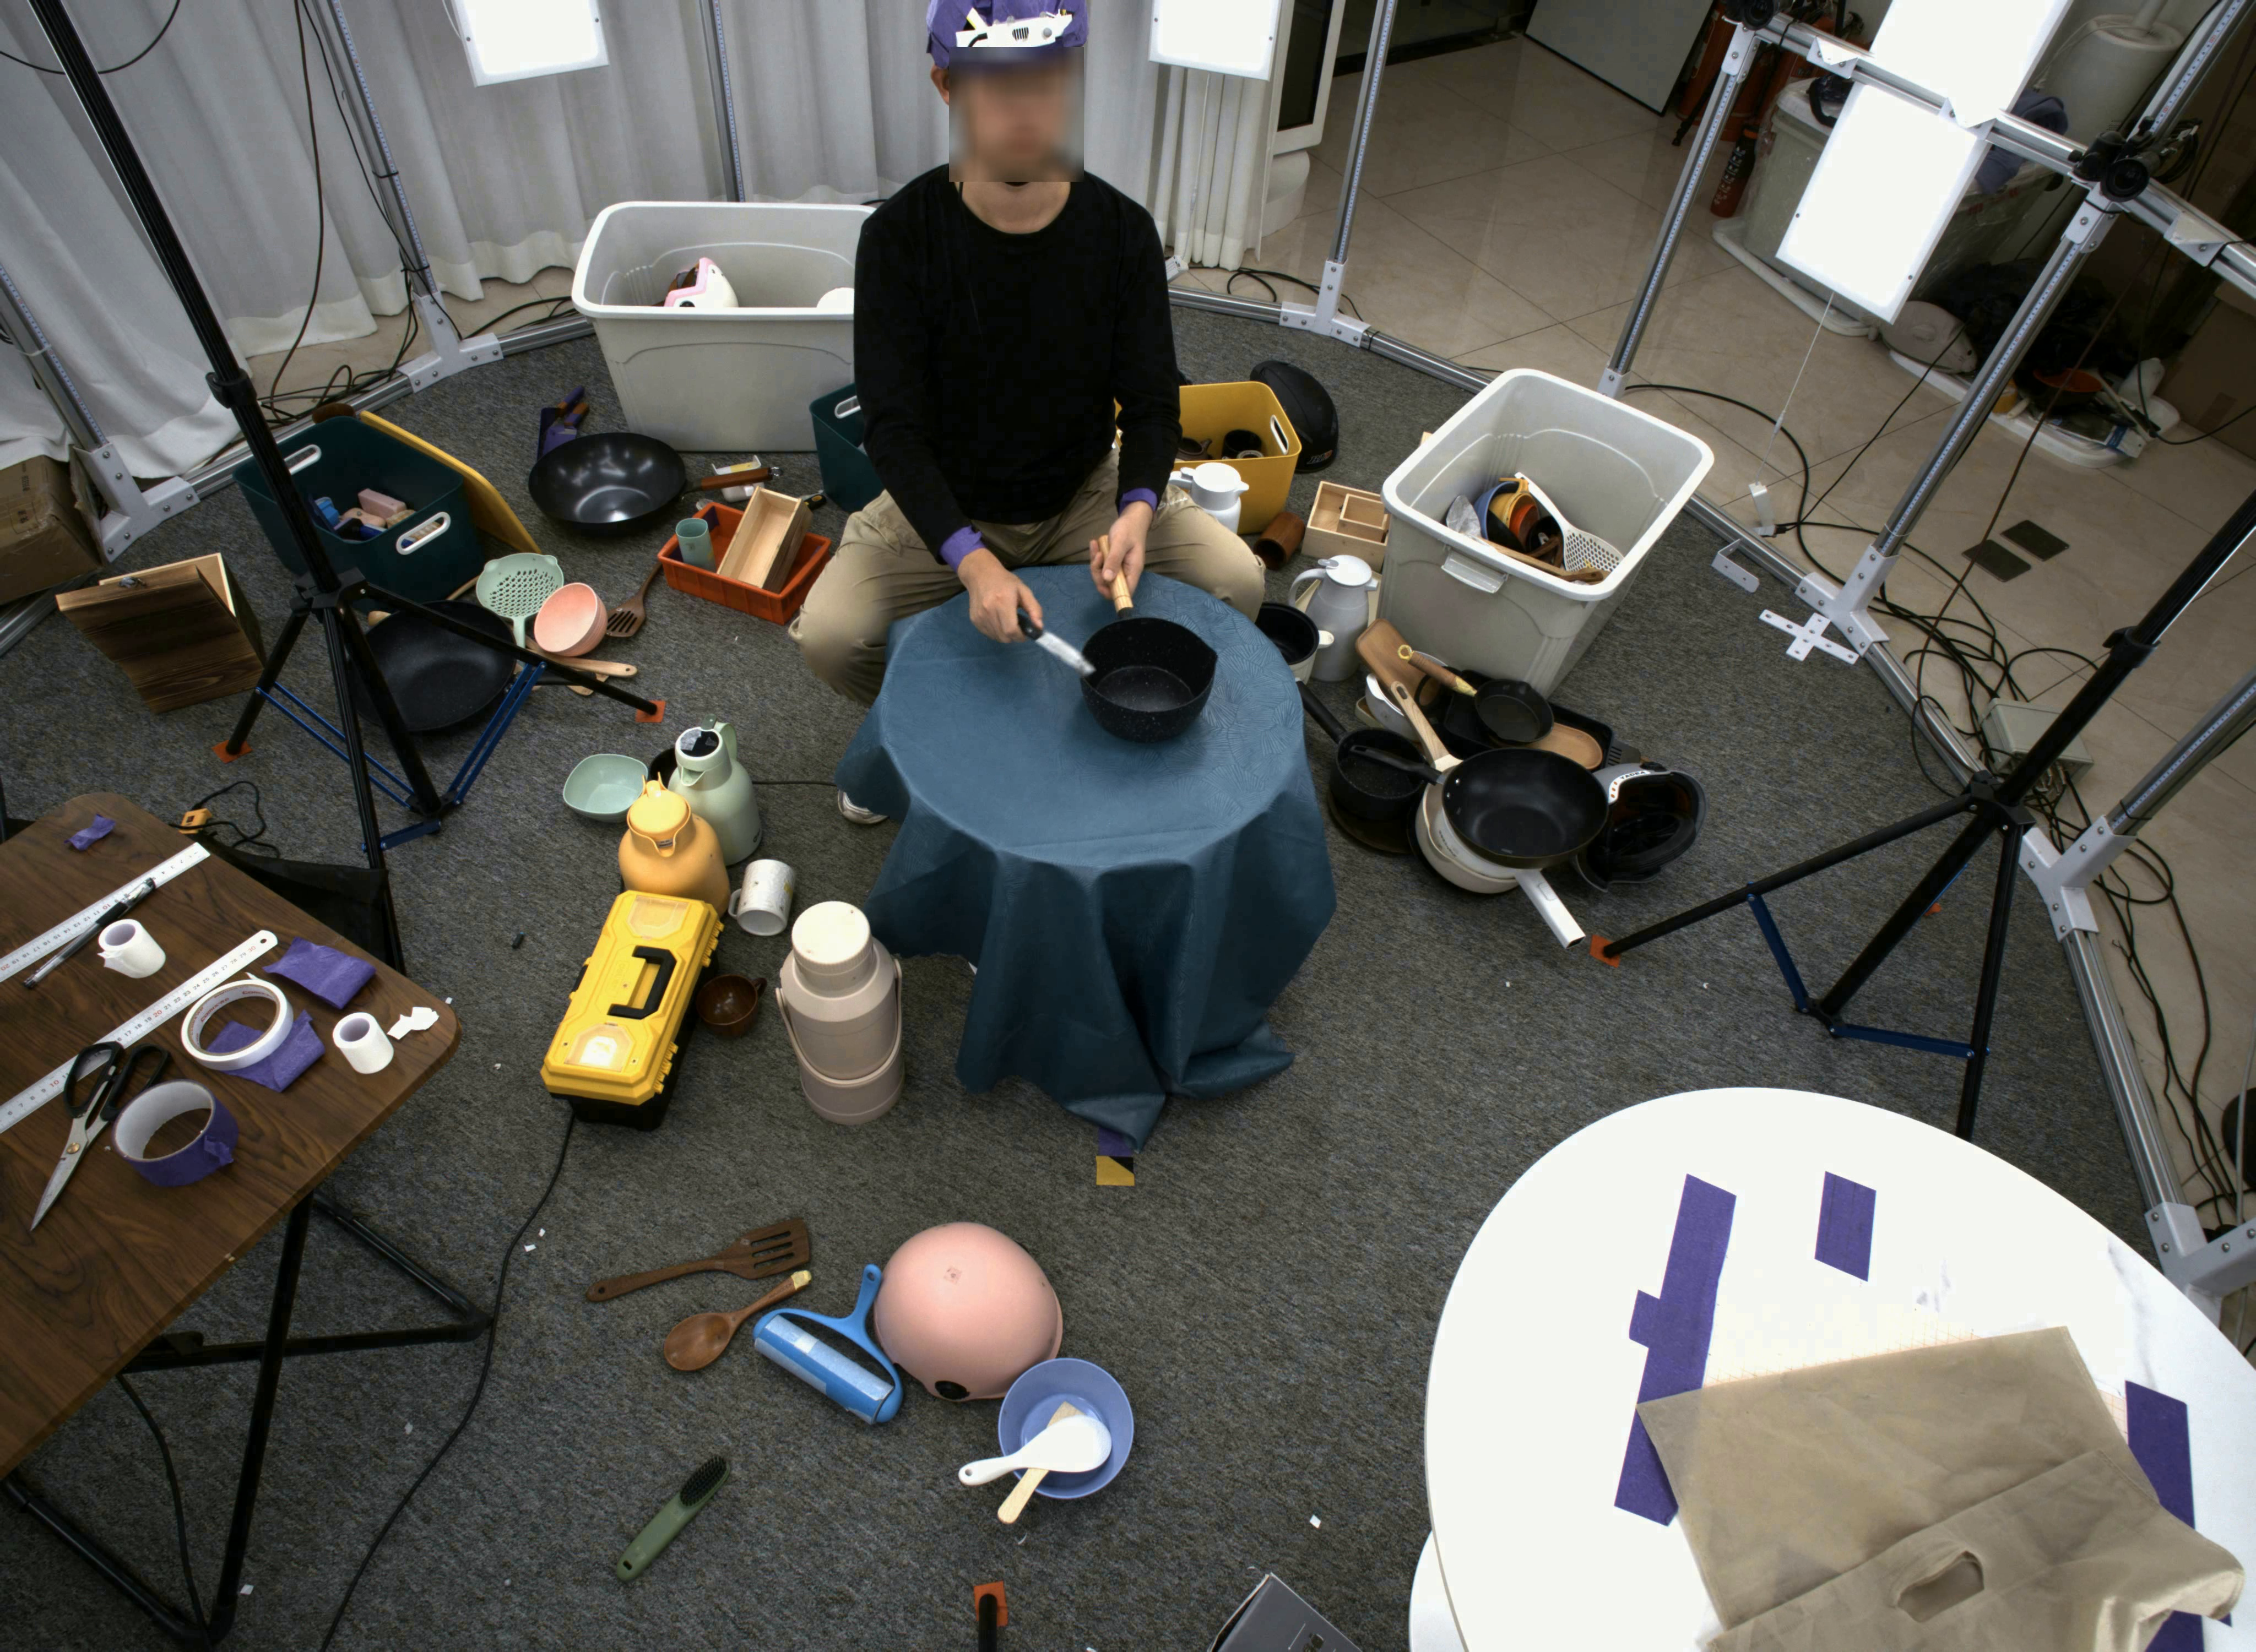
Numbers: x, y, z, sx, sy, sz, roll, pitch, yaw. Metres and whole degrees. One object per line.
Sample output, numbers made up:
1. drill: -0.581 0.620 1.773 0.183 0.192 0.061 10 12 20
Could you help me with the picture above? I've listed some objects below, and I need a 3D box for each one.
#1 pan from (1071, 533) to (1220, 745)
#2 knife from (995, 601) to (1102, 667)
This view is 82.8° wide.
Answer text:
1. pan: 0.005 -0.266 1.827 0.207 0.105 0.351 -10 53 -11
2. knife: -0.112 -0.261 1.766 0.024 0.016 0.242 -49 49 -7
